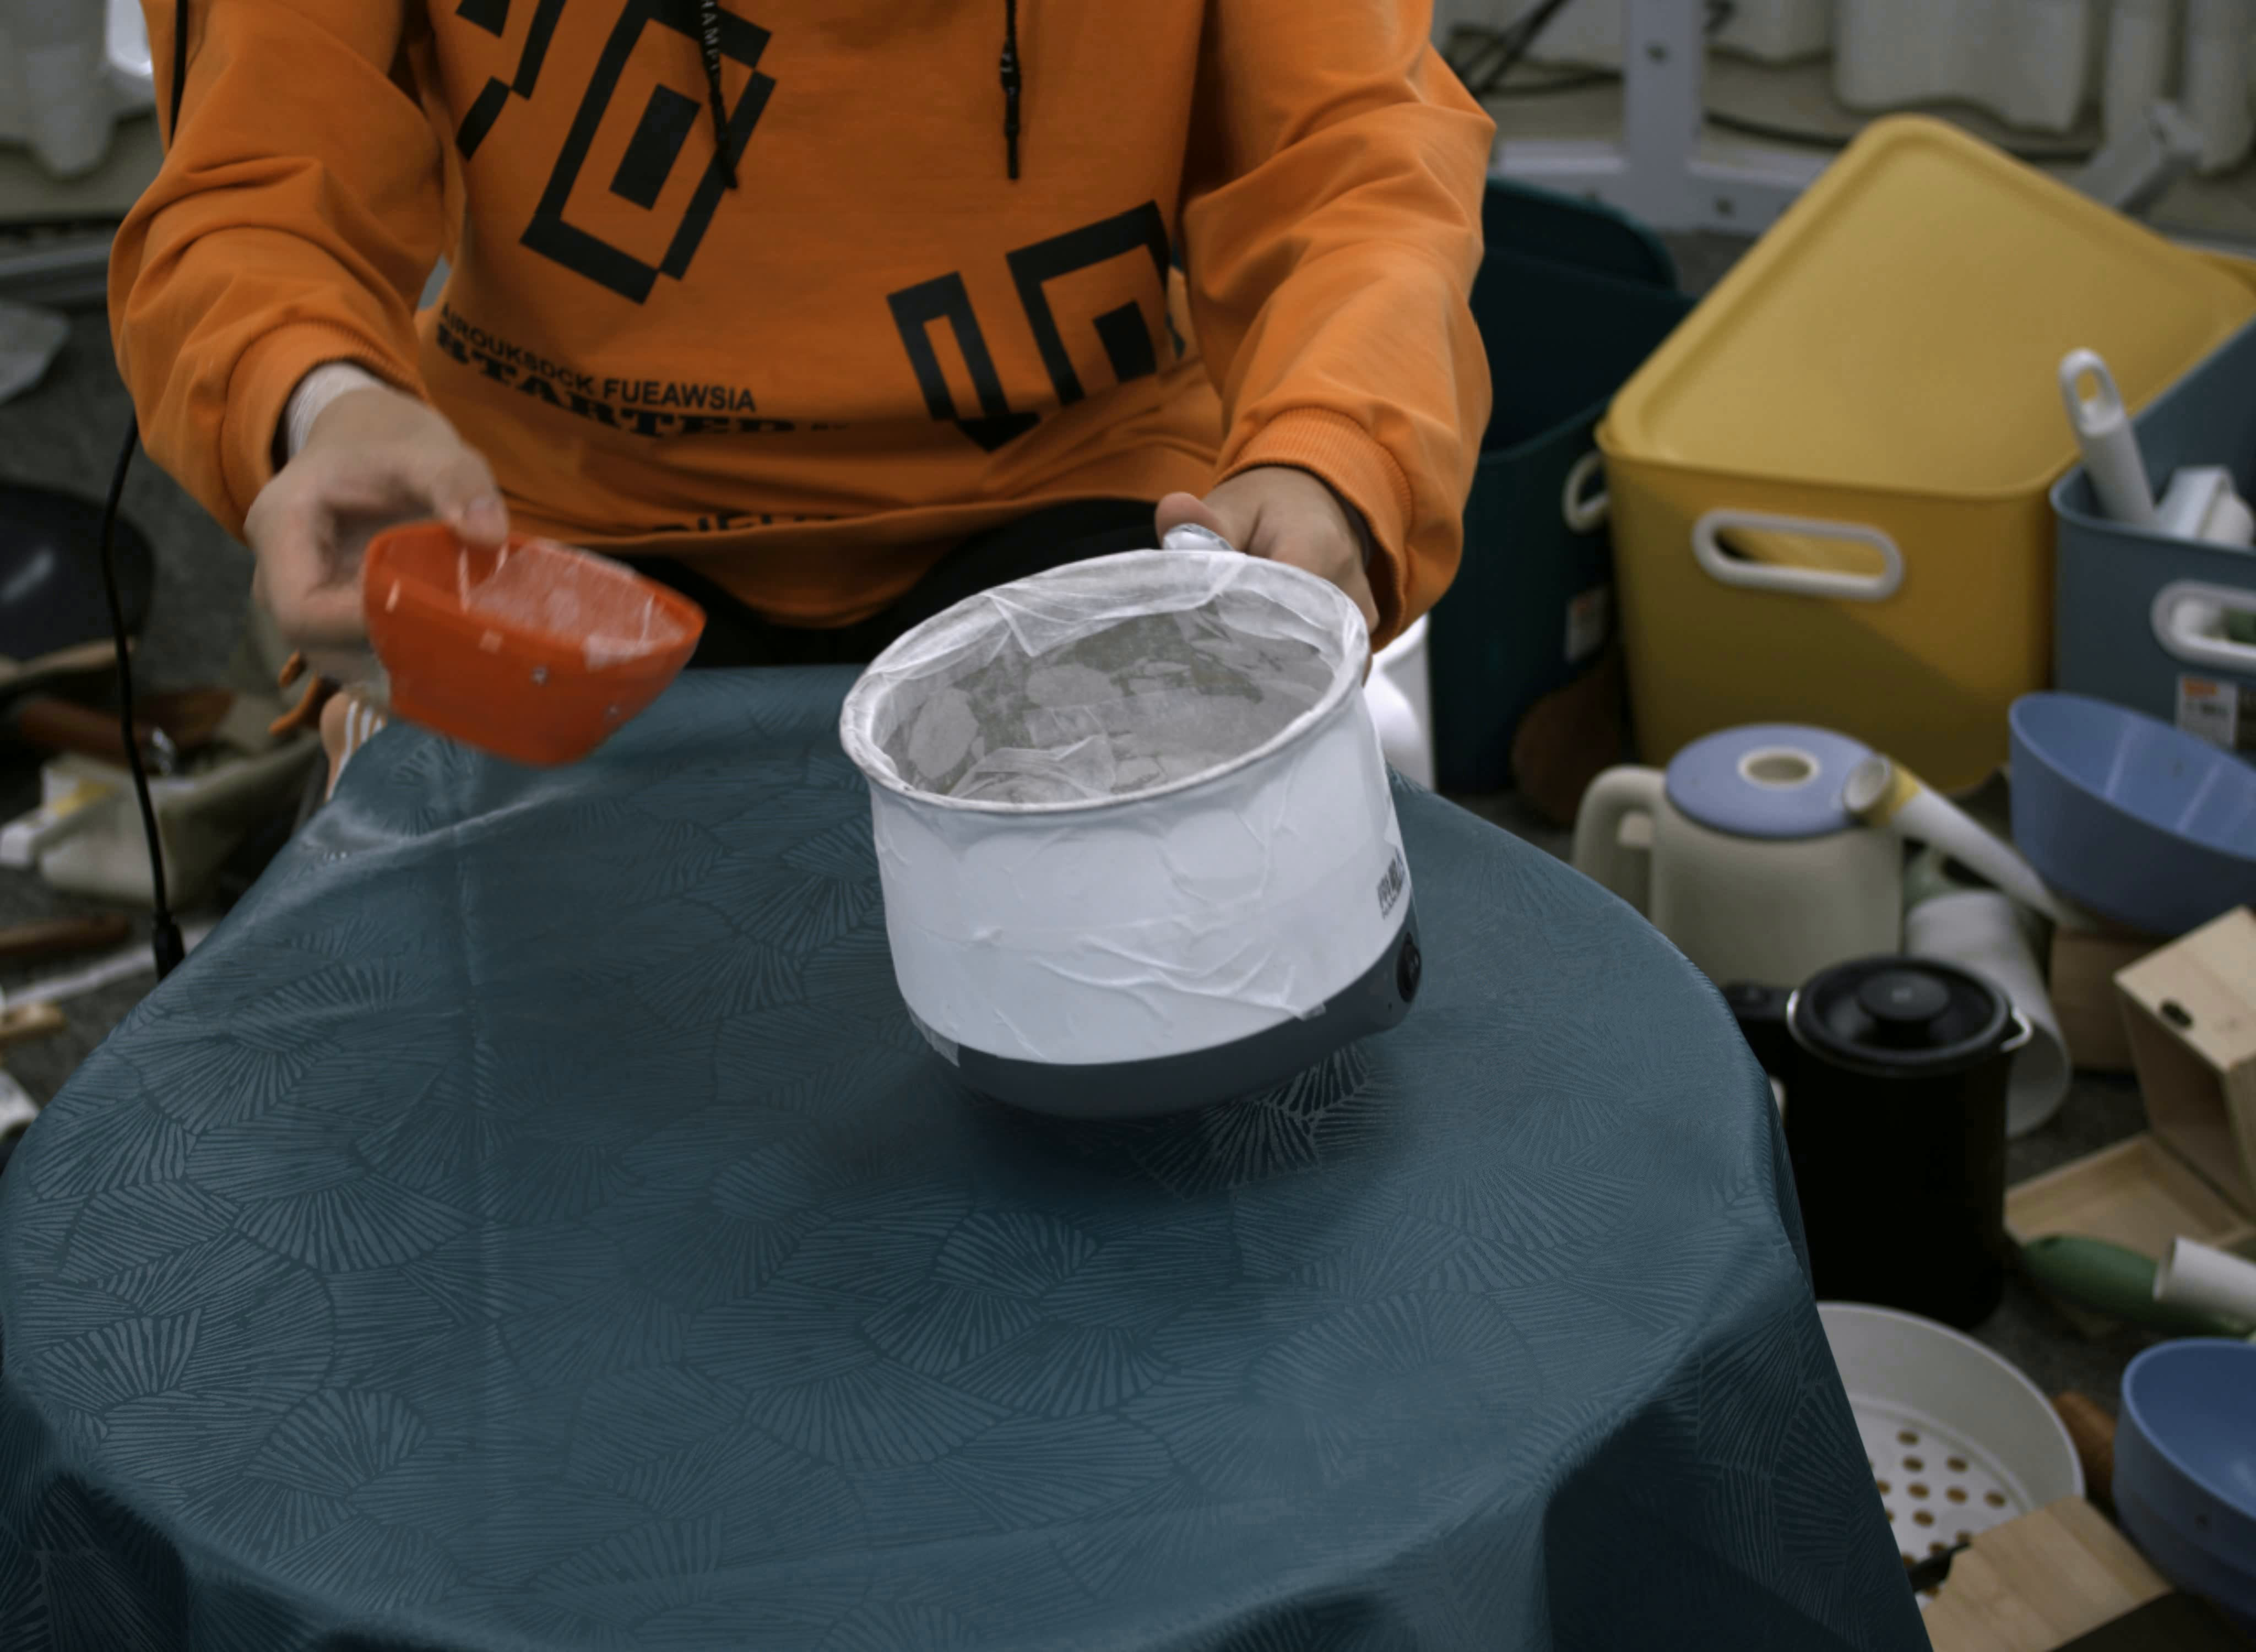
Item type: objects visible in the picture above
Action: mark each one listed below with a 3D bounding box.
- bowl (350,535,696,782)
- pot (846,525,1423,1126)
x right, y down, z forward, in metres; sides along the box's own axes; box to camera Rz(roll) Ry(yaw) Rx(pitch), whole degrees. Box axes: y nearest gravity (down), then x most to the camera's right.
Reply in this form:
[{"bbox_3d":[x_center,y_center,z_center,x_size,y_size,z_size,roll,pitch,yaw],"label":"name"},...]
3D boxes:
[{"bbox_3d":[-0.203,-0.051,1.849,0.118,0.051,0.120,15,16,-4],"label":"bowl"},{"bbox_3d":[0.011,-0.008,1.903,0.177,0.135,0.238,-1,29,17],"label":"pot"}]
